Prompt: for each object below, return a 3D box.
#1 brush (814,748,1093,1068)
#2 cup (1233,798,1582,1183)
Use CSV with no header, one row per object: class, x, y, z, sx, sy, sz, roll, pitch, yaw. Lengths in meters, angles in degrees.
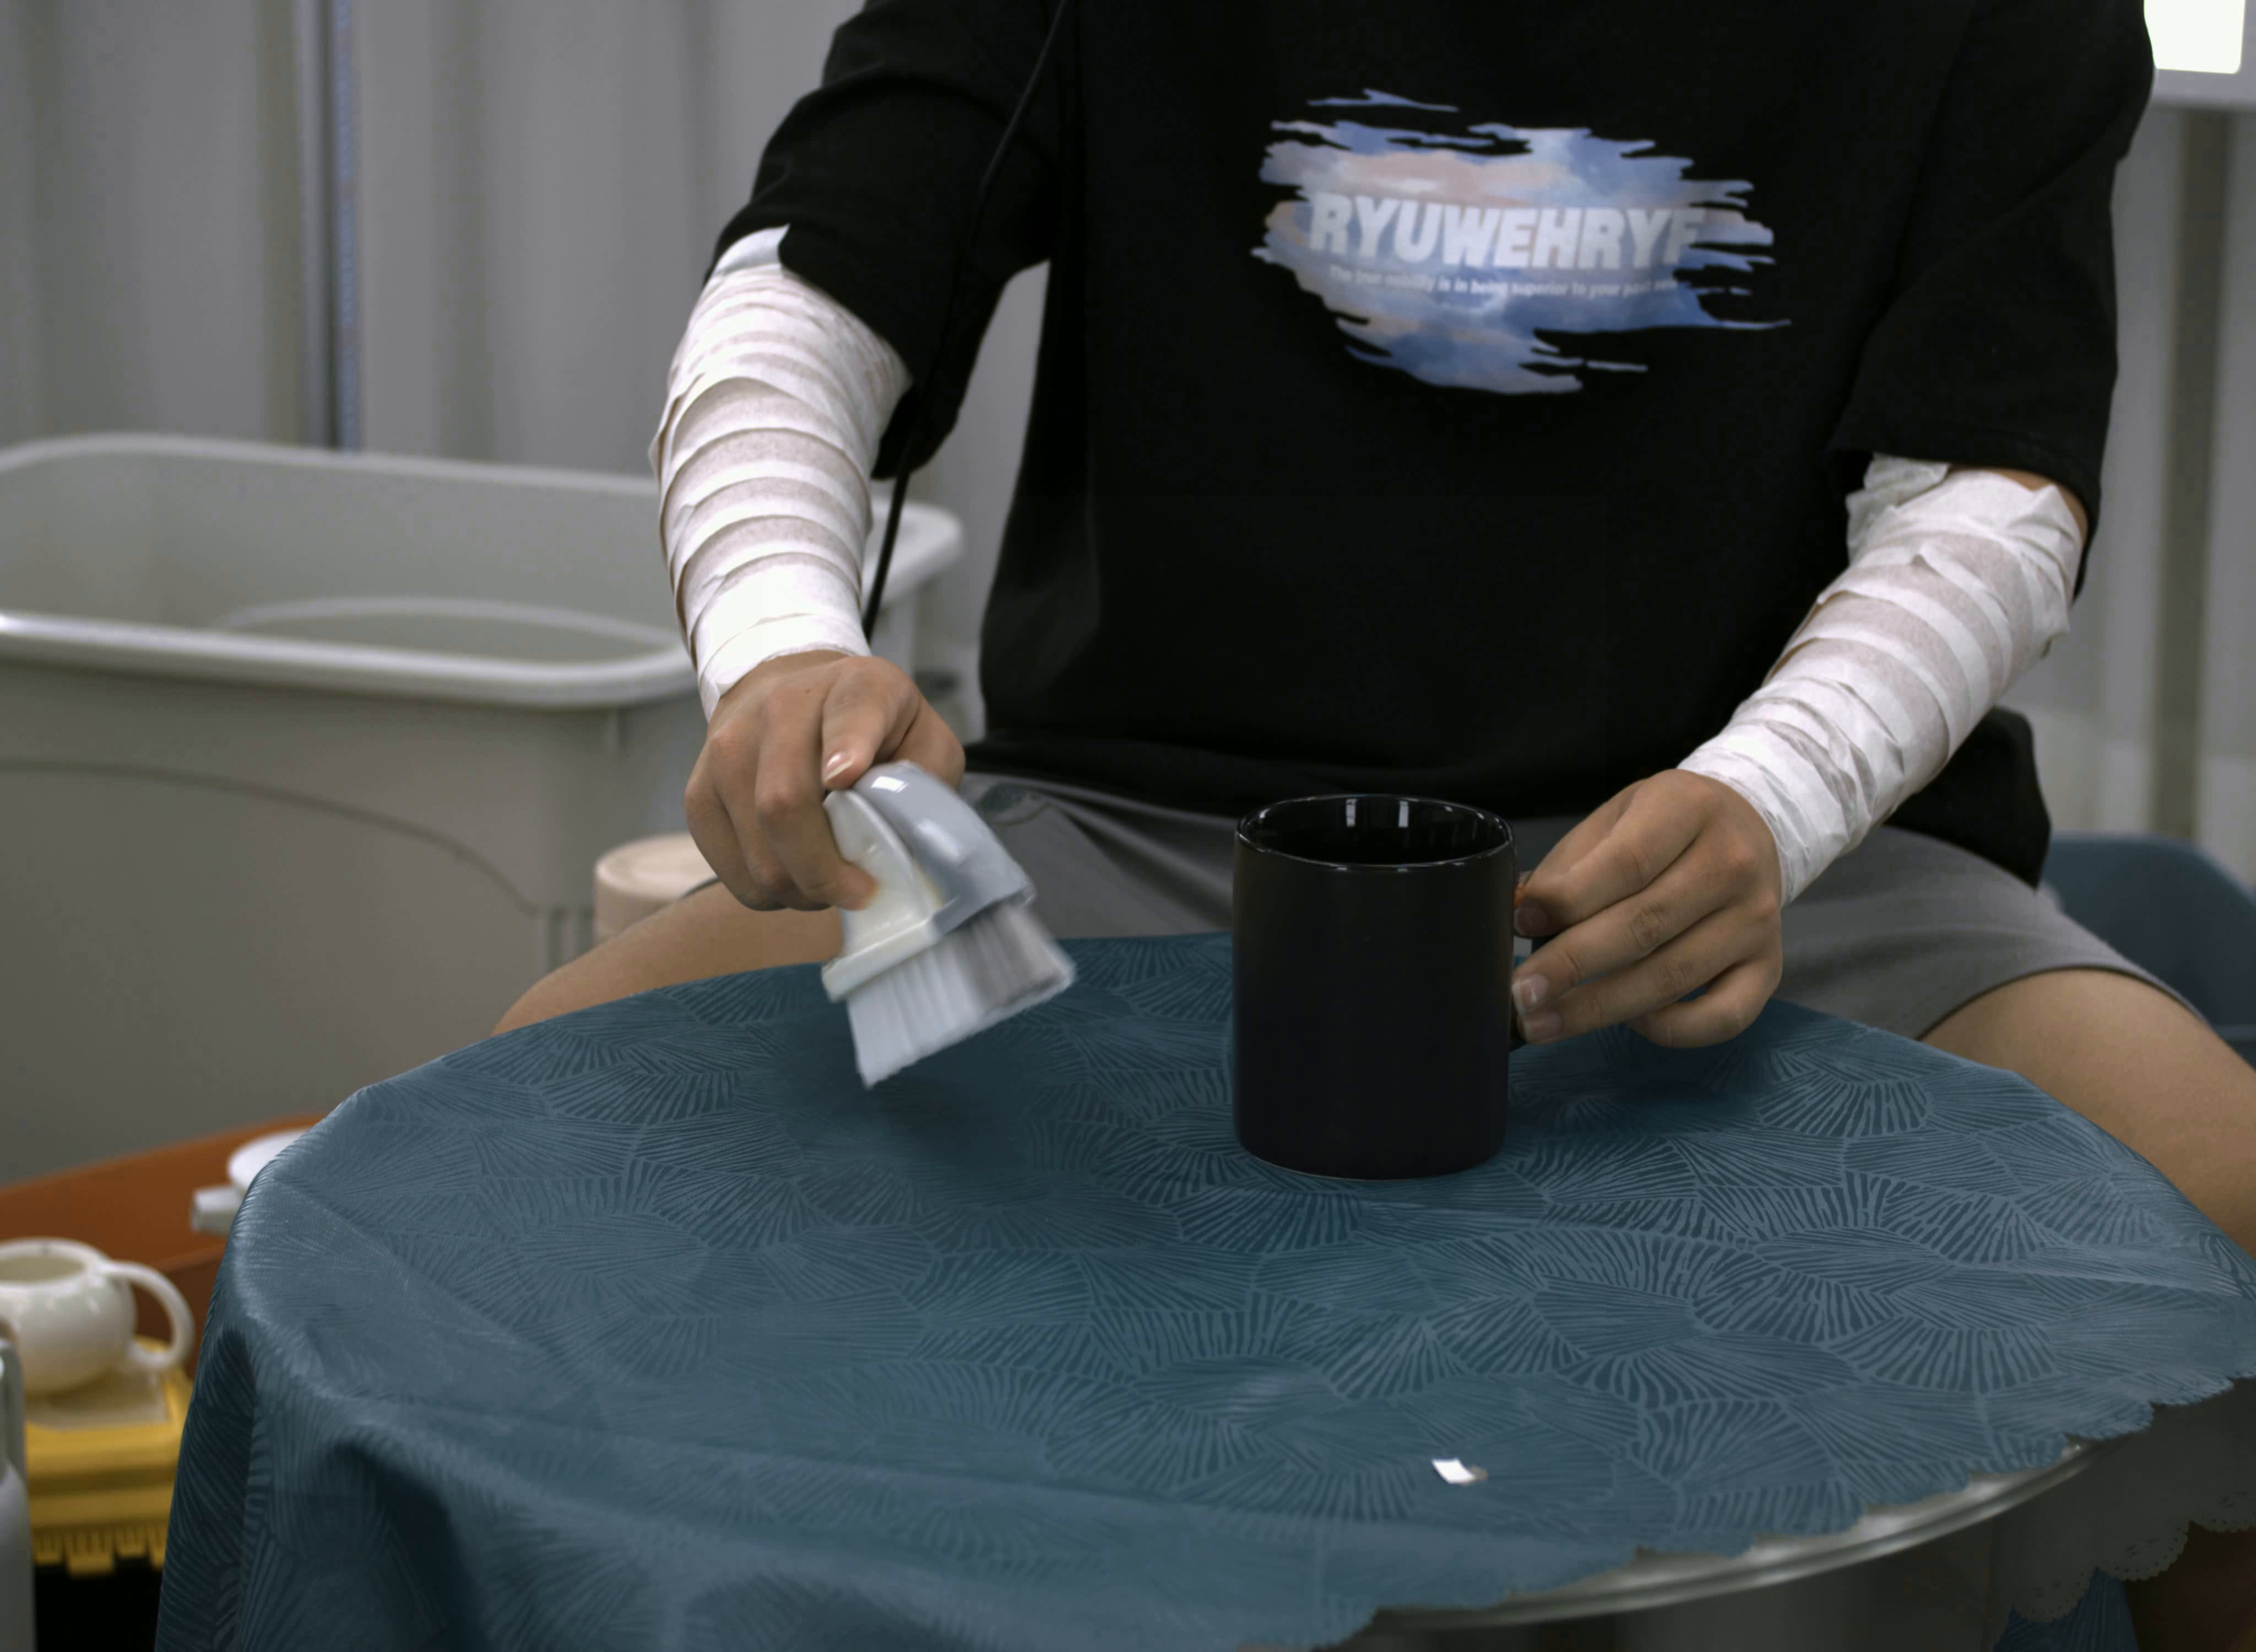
brush,-0.057,0.017,1.623,0.061,0.094,0.175,-30,1,-15
cup,0.092,0.049,1.668,0.124,0.106,0.087,-9,14,-33
